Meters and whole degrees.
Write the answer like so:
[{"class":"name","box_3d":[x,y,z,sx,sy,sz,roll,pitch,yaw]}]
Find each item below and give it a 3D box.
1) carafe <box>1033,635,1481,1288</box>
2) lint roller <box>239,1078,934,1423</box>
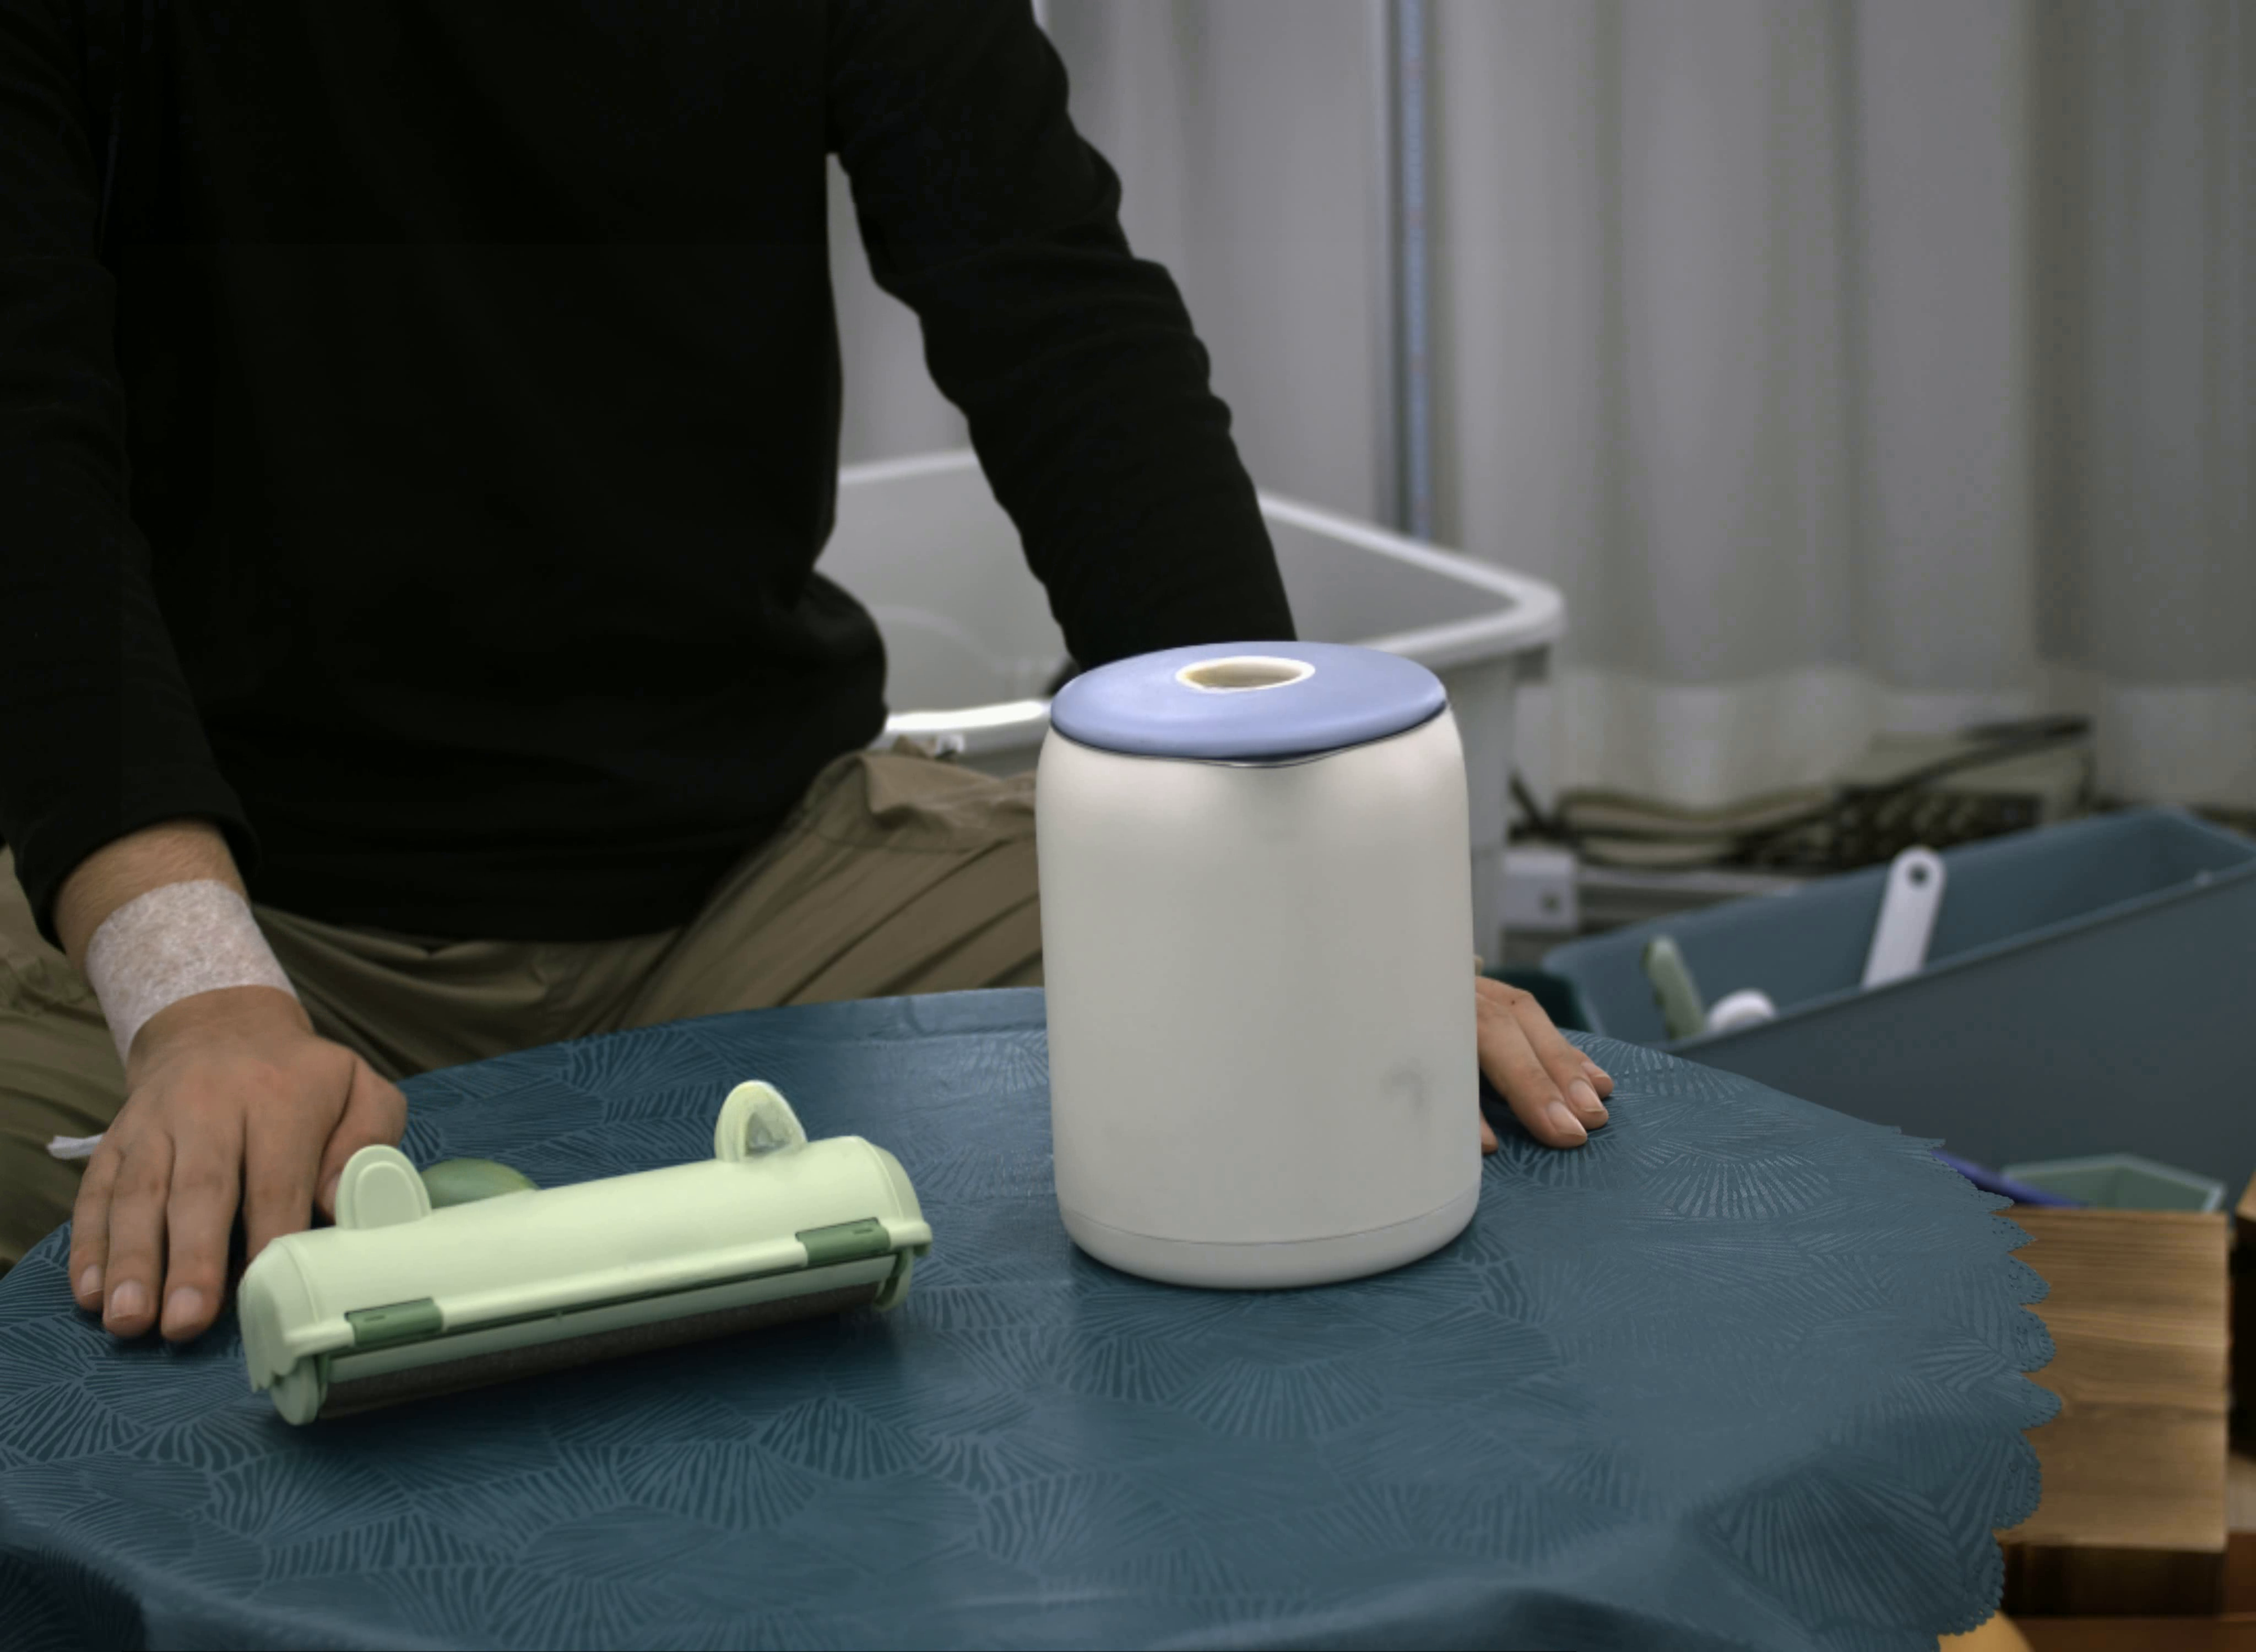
[{"class":"carafe","box_3d":[0.036,0.034,1.678,0.131,0.182,0.192,-4,12,-7]},{"class":"lint roller","box_3d":[-0.179,0.110,1.621,0.198,0.082,0.185,-8,18,-24]}]
